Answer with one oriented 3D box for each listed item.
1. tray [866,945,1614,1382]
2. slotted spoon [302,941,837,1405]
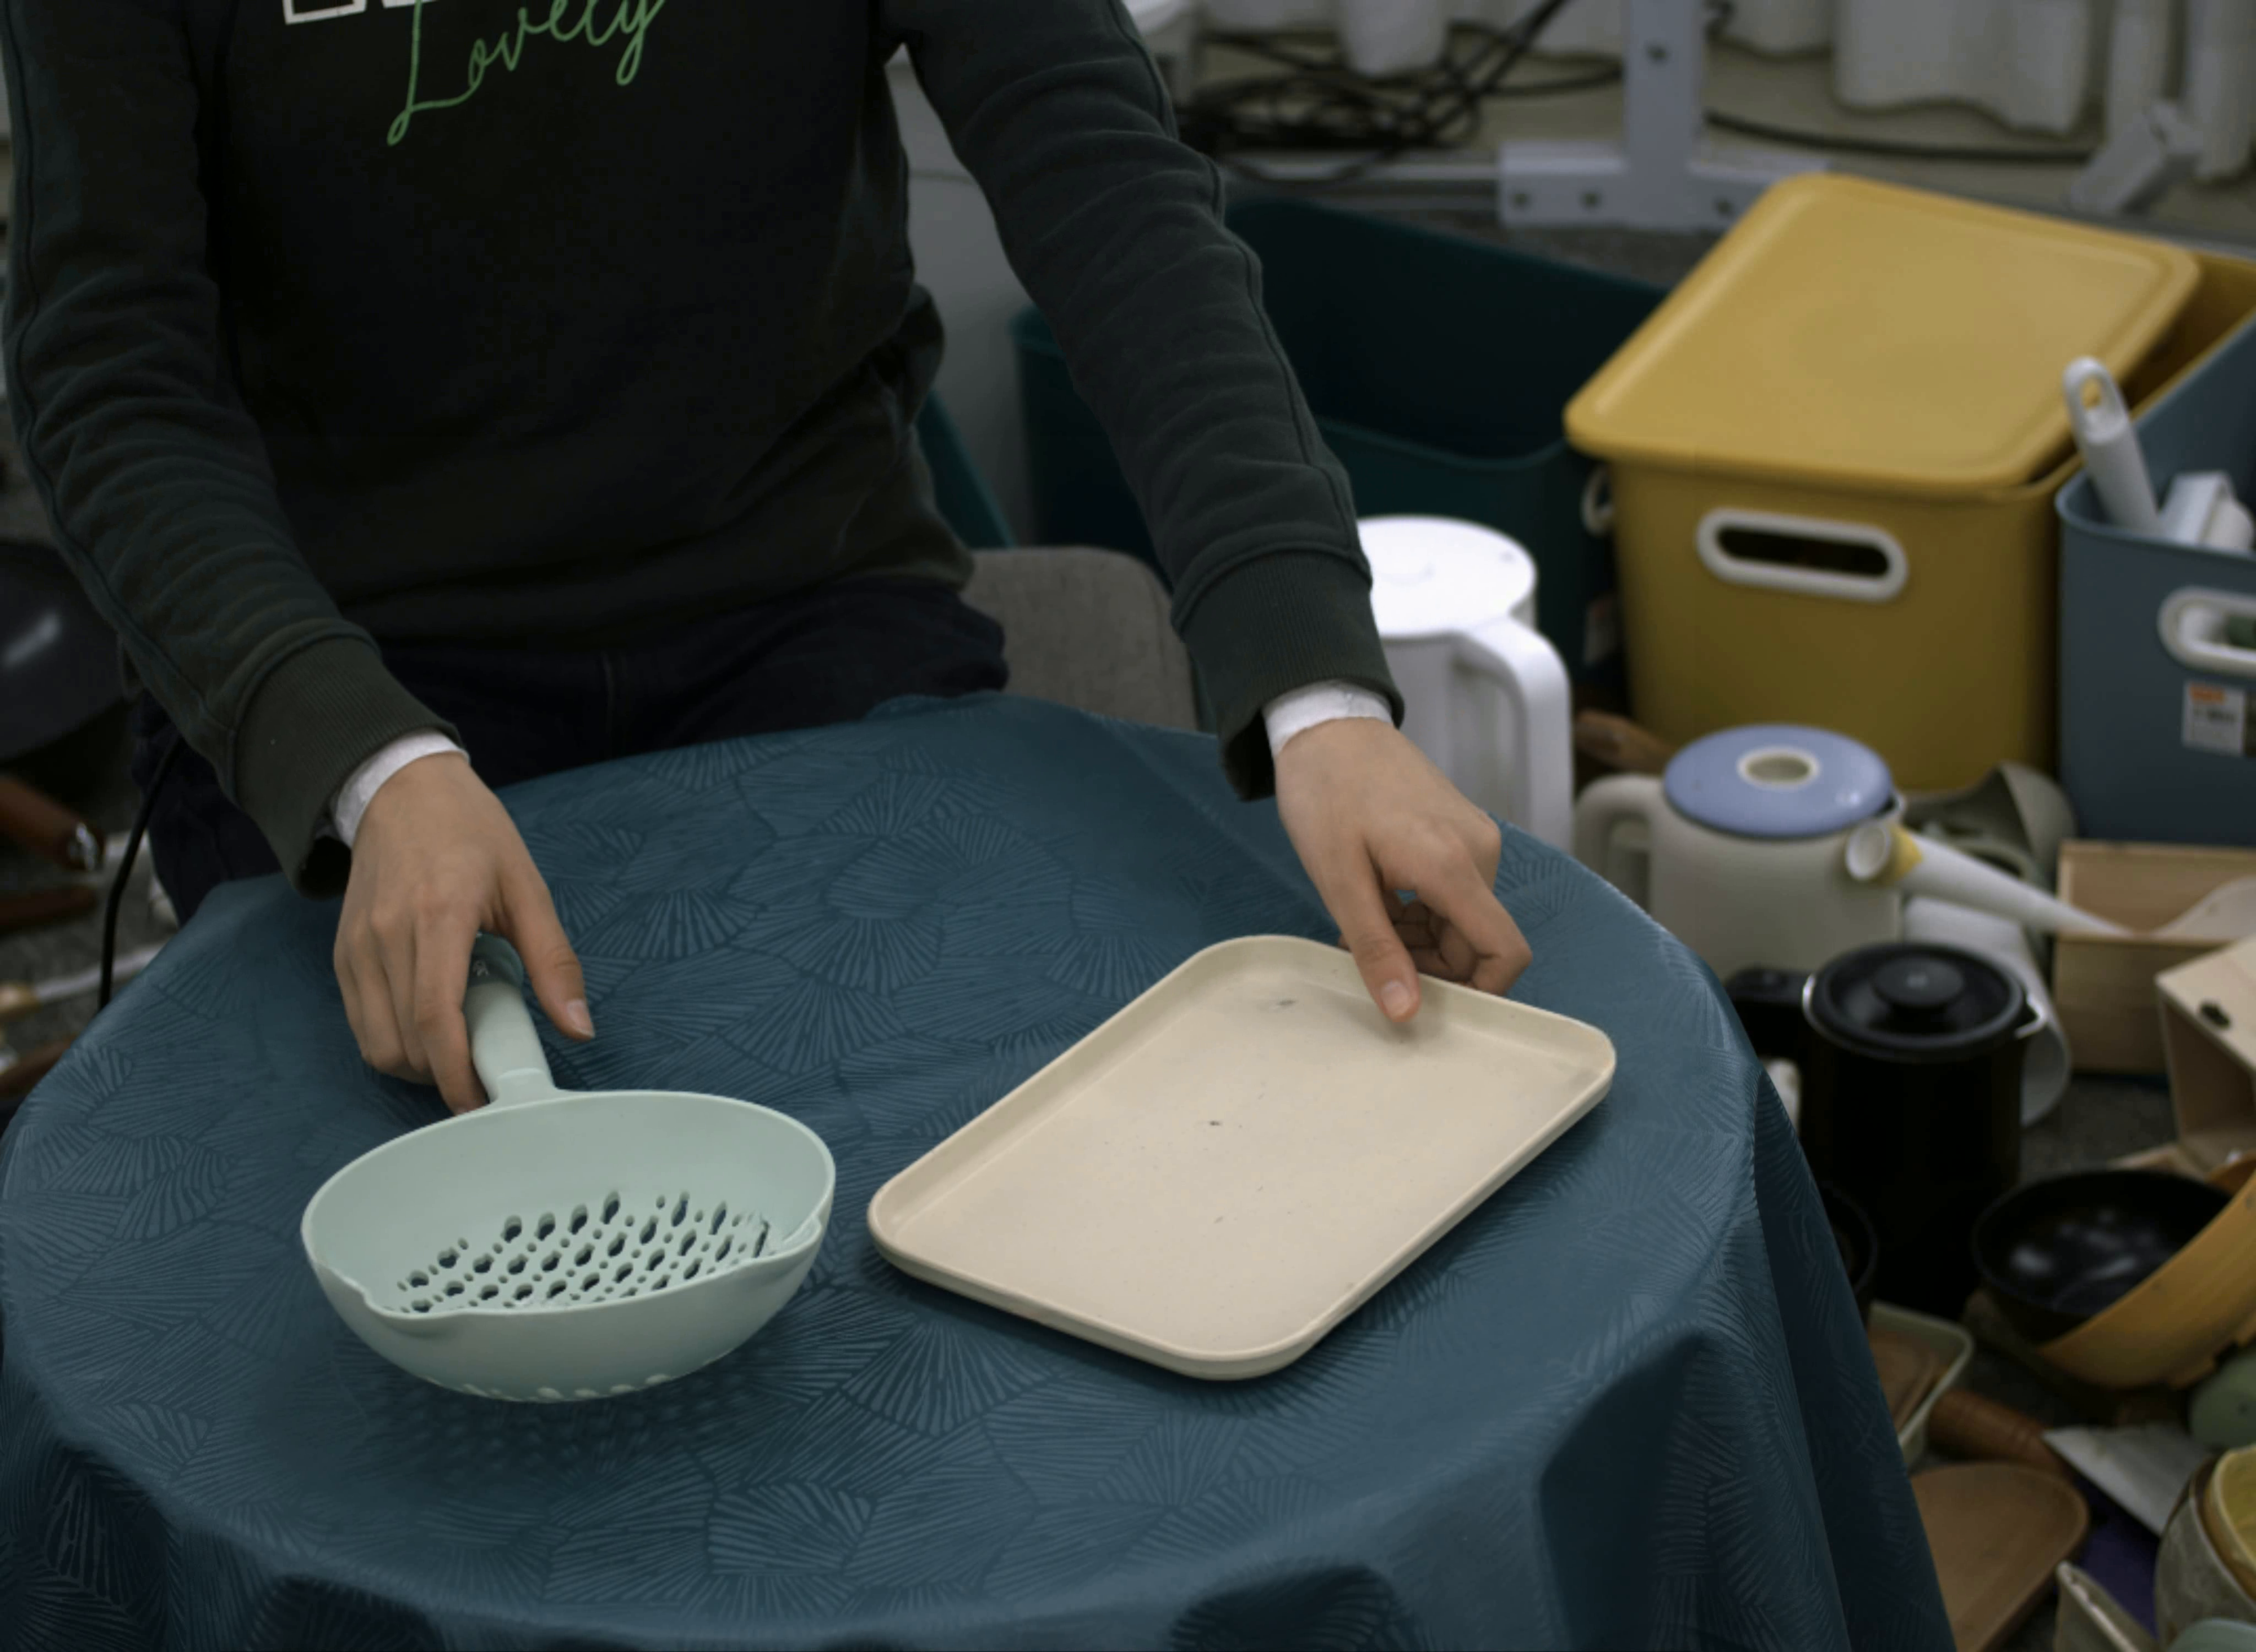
[{"bbox_3d":[0.039,0.110,1.862,0.170,0.017,0.243,16,32,32],"label":"tray"},{"bbox_3d":[-0.197,0.099,1.857,0.169,0.074,0.362,-8,27,-12],"label":"slotted spoon"}]
